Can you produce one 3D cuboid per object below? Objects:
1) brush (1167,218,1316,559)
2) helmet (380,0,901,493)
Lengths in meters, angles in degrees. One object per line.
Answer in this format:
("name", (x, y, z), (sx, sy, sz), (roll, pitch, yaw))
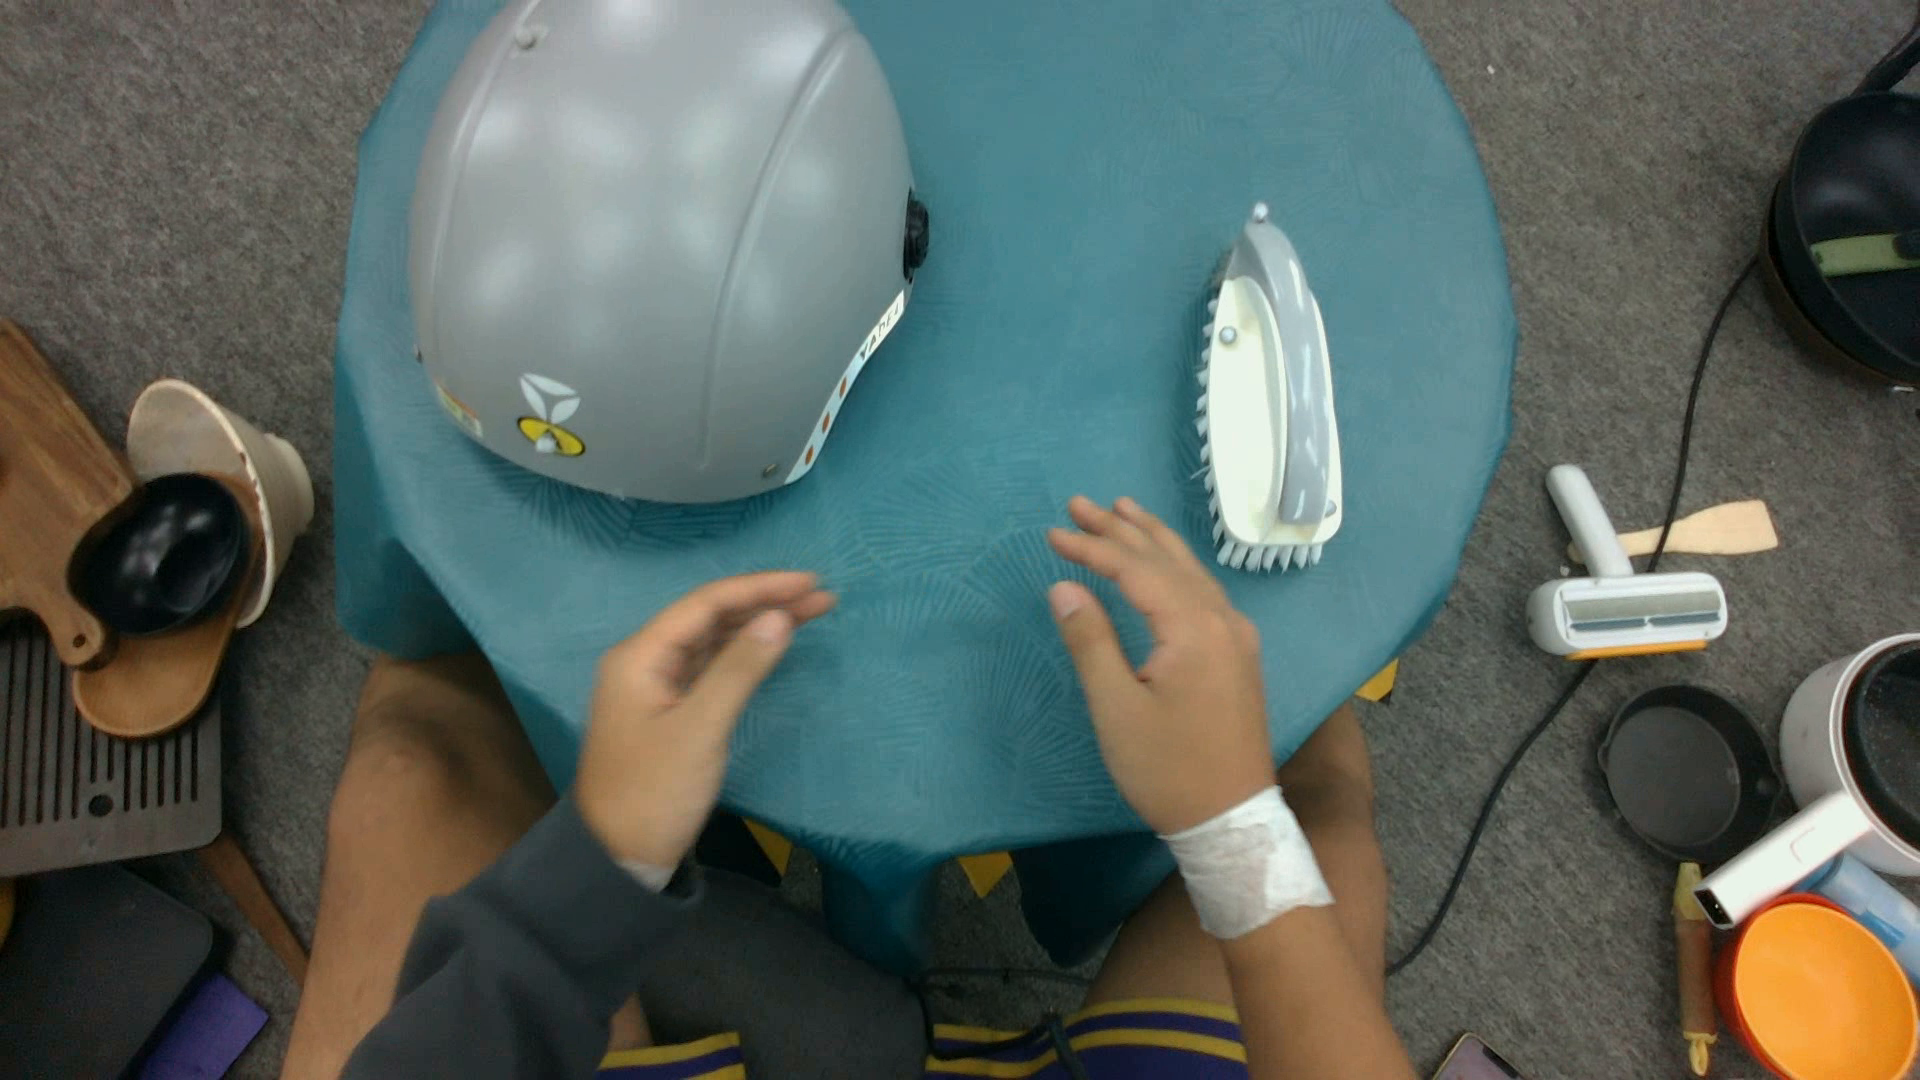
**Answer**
("brush", (0.137, -0.086, 0.661), (0.061, 0.094, 0.176), (0, 69, -8))
("helmet", (-0.142, -0.165, 0.617), (0.232, 0.168, 0.277), (18, 69, -2))
